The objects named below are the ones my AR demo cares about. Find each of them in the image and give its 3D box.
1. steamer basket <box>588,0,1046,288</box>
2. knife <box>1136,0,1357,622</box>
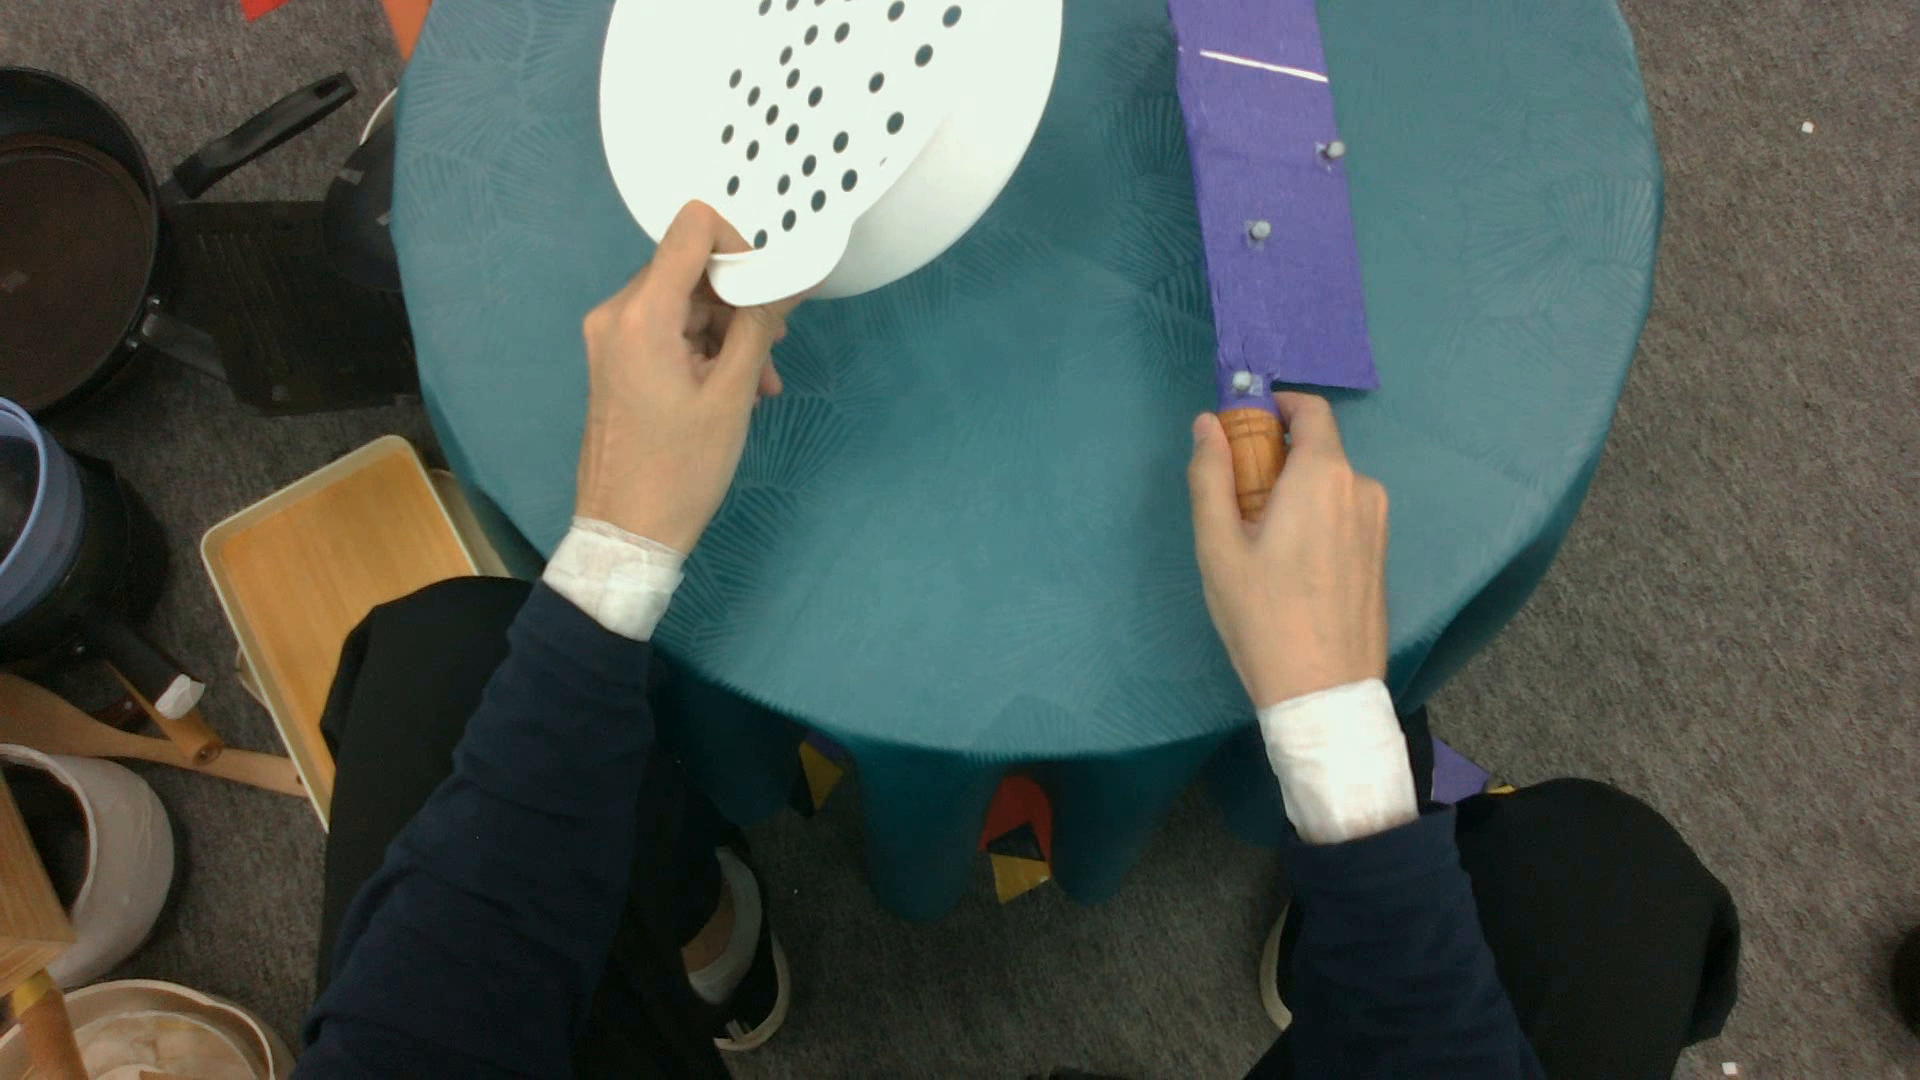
[{"bbox_3d":[-0.061,-0.209,0.558,0.201,0.069,0.231,-8,79,35],"label":"steamer basket"},{"bbox_3d":[0.132,-0.124,0.597,0.104,0.032,0.315,-3,81,-29],"label":"knife"}]
